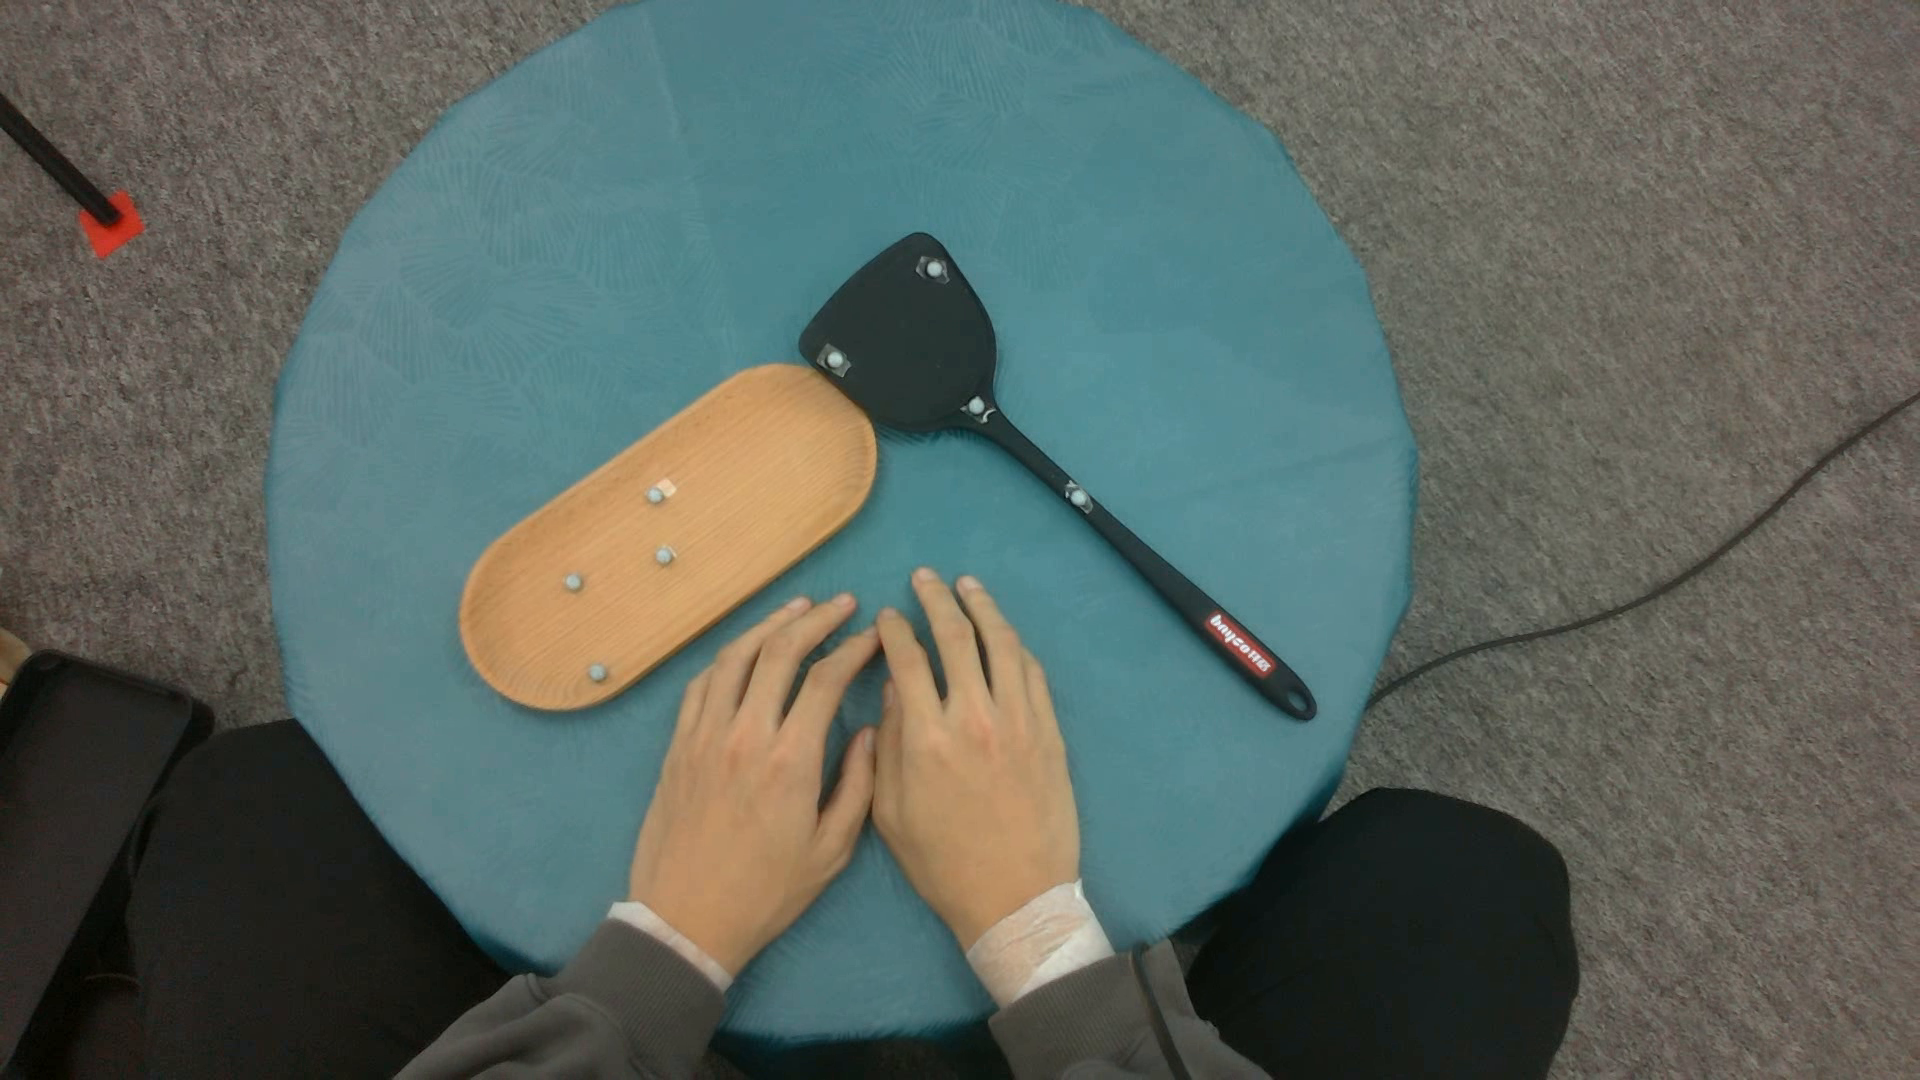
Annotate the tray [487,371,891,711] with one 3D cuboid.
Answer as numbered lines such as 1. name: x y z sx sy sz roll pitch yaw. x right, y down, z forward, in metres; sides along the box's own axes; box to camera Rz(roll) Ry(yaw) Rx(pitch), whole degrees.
1. tray: -0.138 -0.002 0.716 0.231 0.020 0.102 -37 77 -13

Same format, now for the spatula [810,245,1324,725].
1. spatula: 0.065 -0.020 0.717 0.326 0.040 0.100 42 78 11
